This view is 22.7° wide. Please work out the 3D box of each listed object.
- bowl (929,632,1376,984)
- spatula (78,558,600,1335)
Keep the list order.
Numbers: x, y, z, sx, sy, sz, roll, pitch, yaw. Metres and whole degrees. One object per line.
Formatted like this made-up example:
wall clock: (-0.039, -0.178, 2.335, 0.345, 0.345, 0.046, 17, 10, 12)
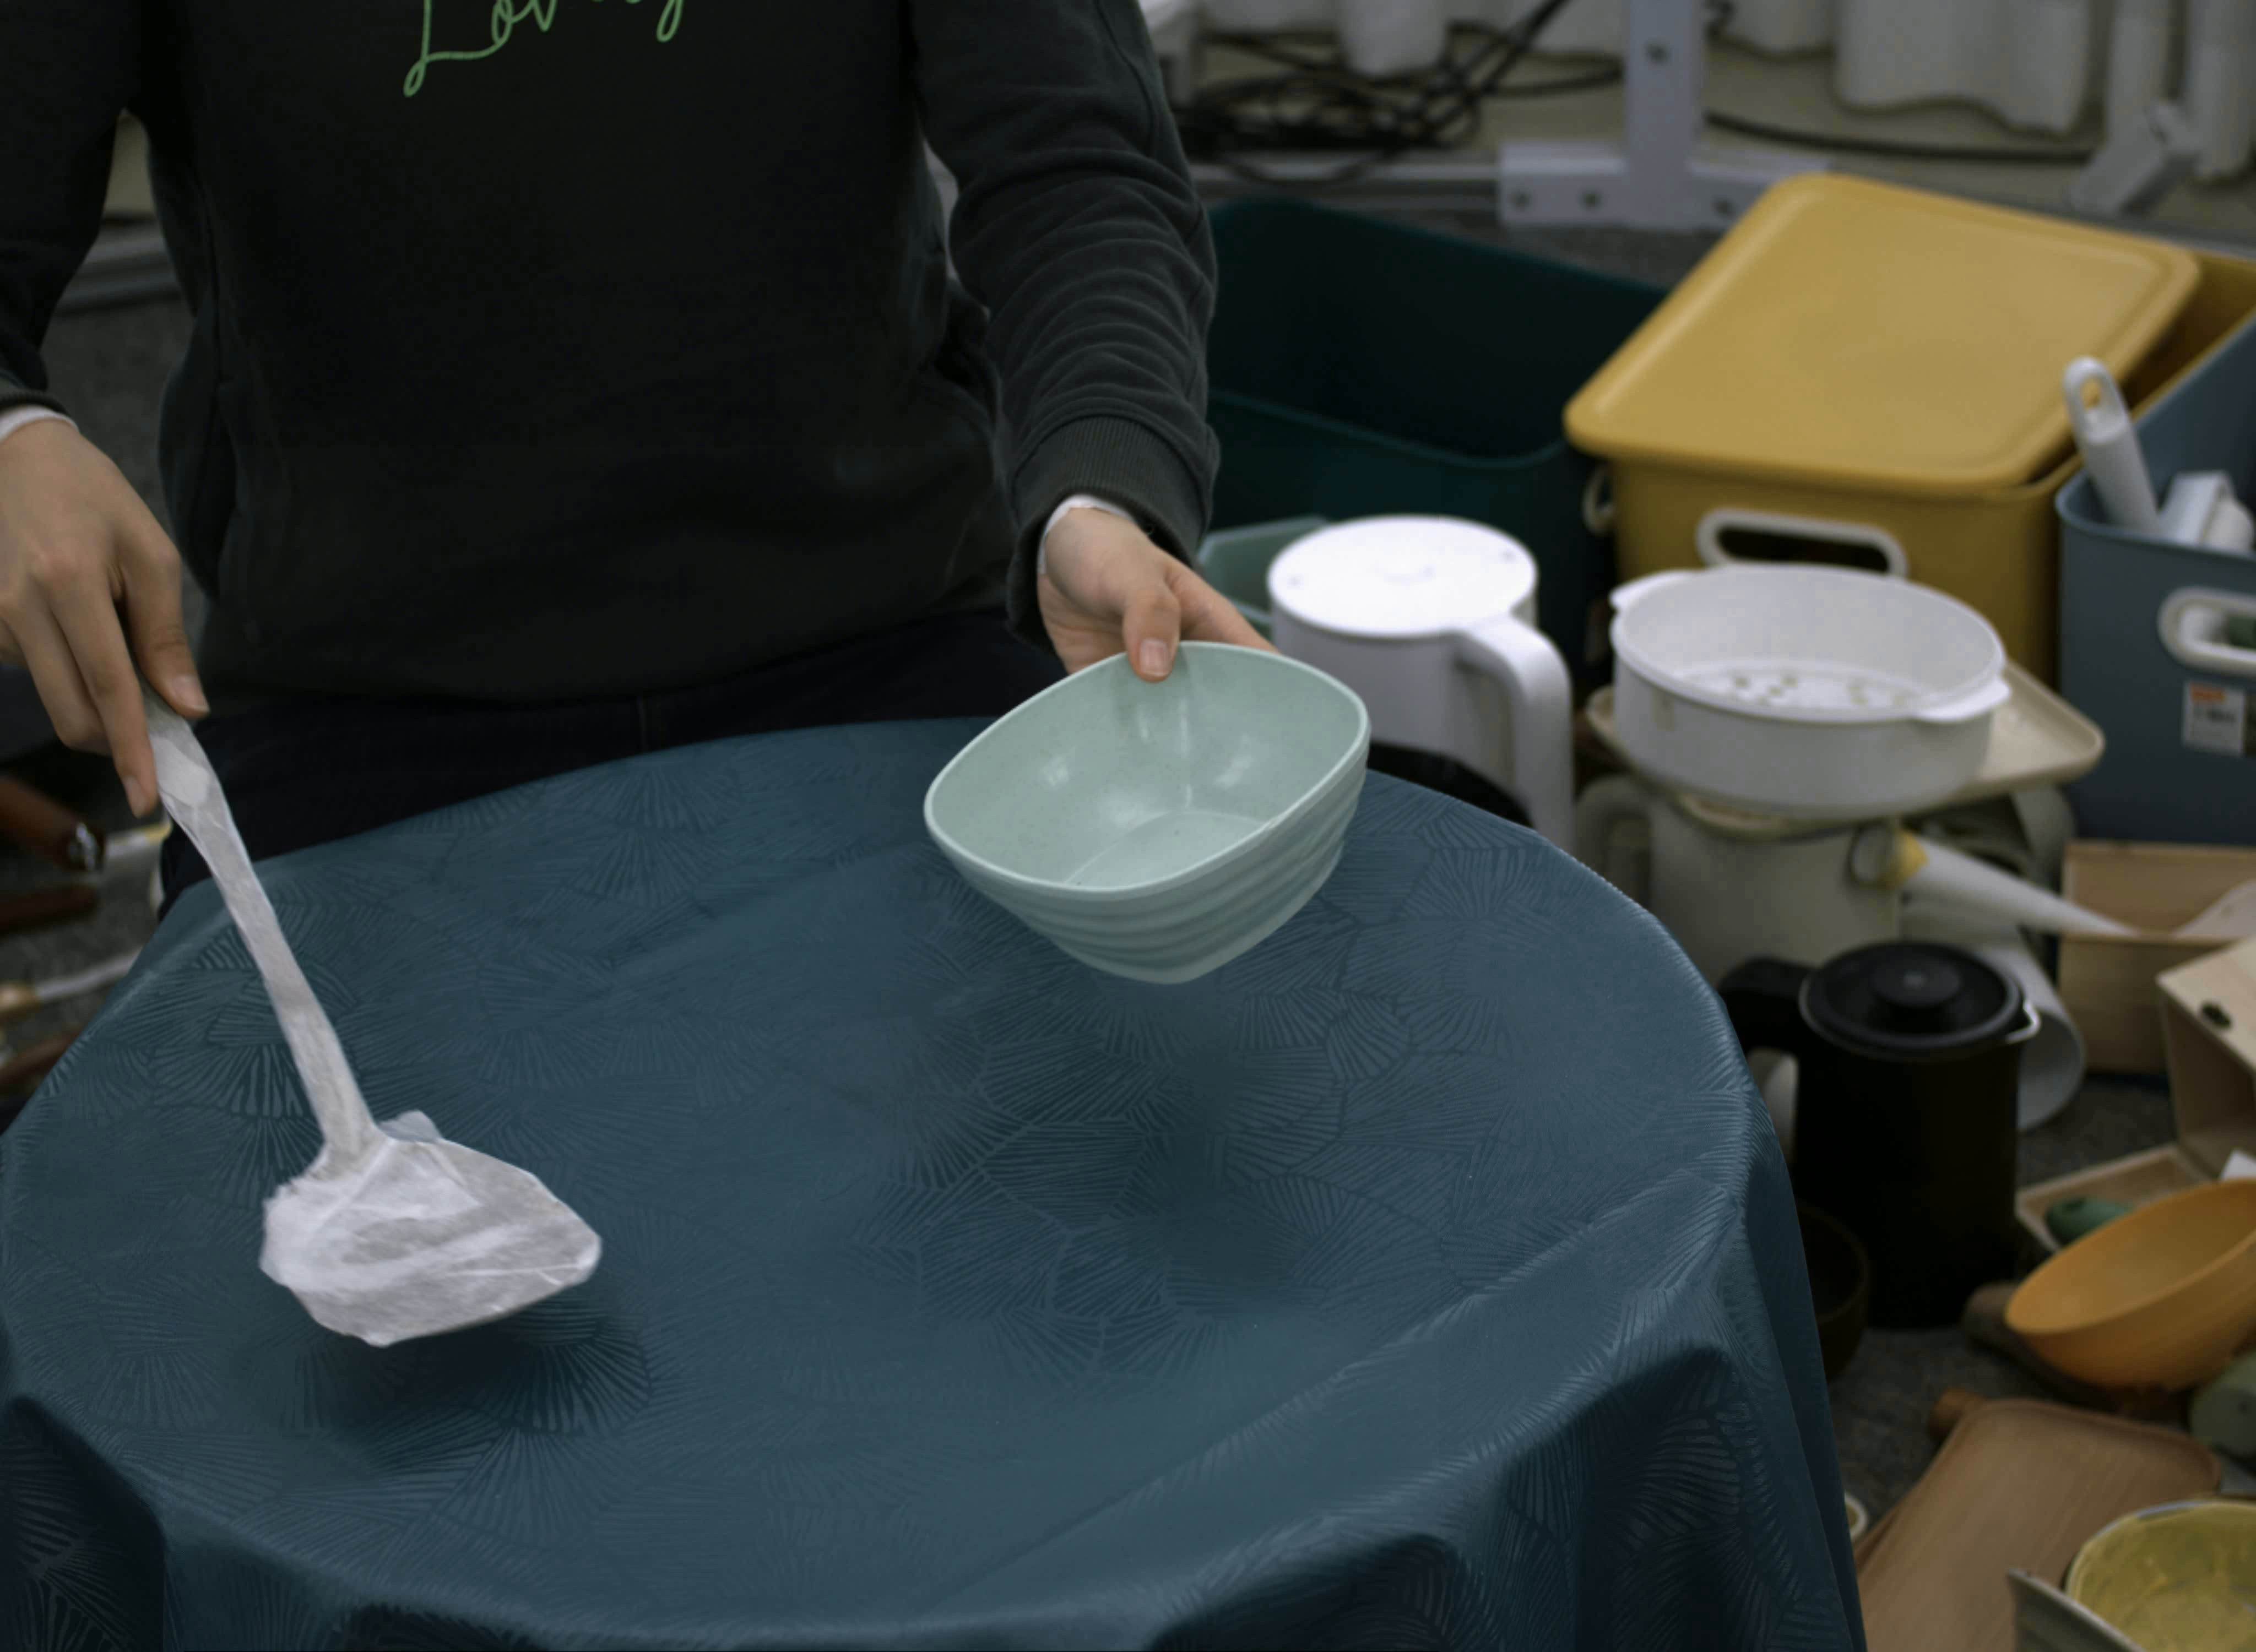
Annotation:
bowl: (0.013, 0.001, 1.863, 0.150, 0.058, 0.154, -10, 33, 7)
spatula: (-0.283, 0.031, 1.853, 0.099, 0.044, 0.369, -14, 55, -25)
